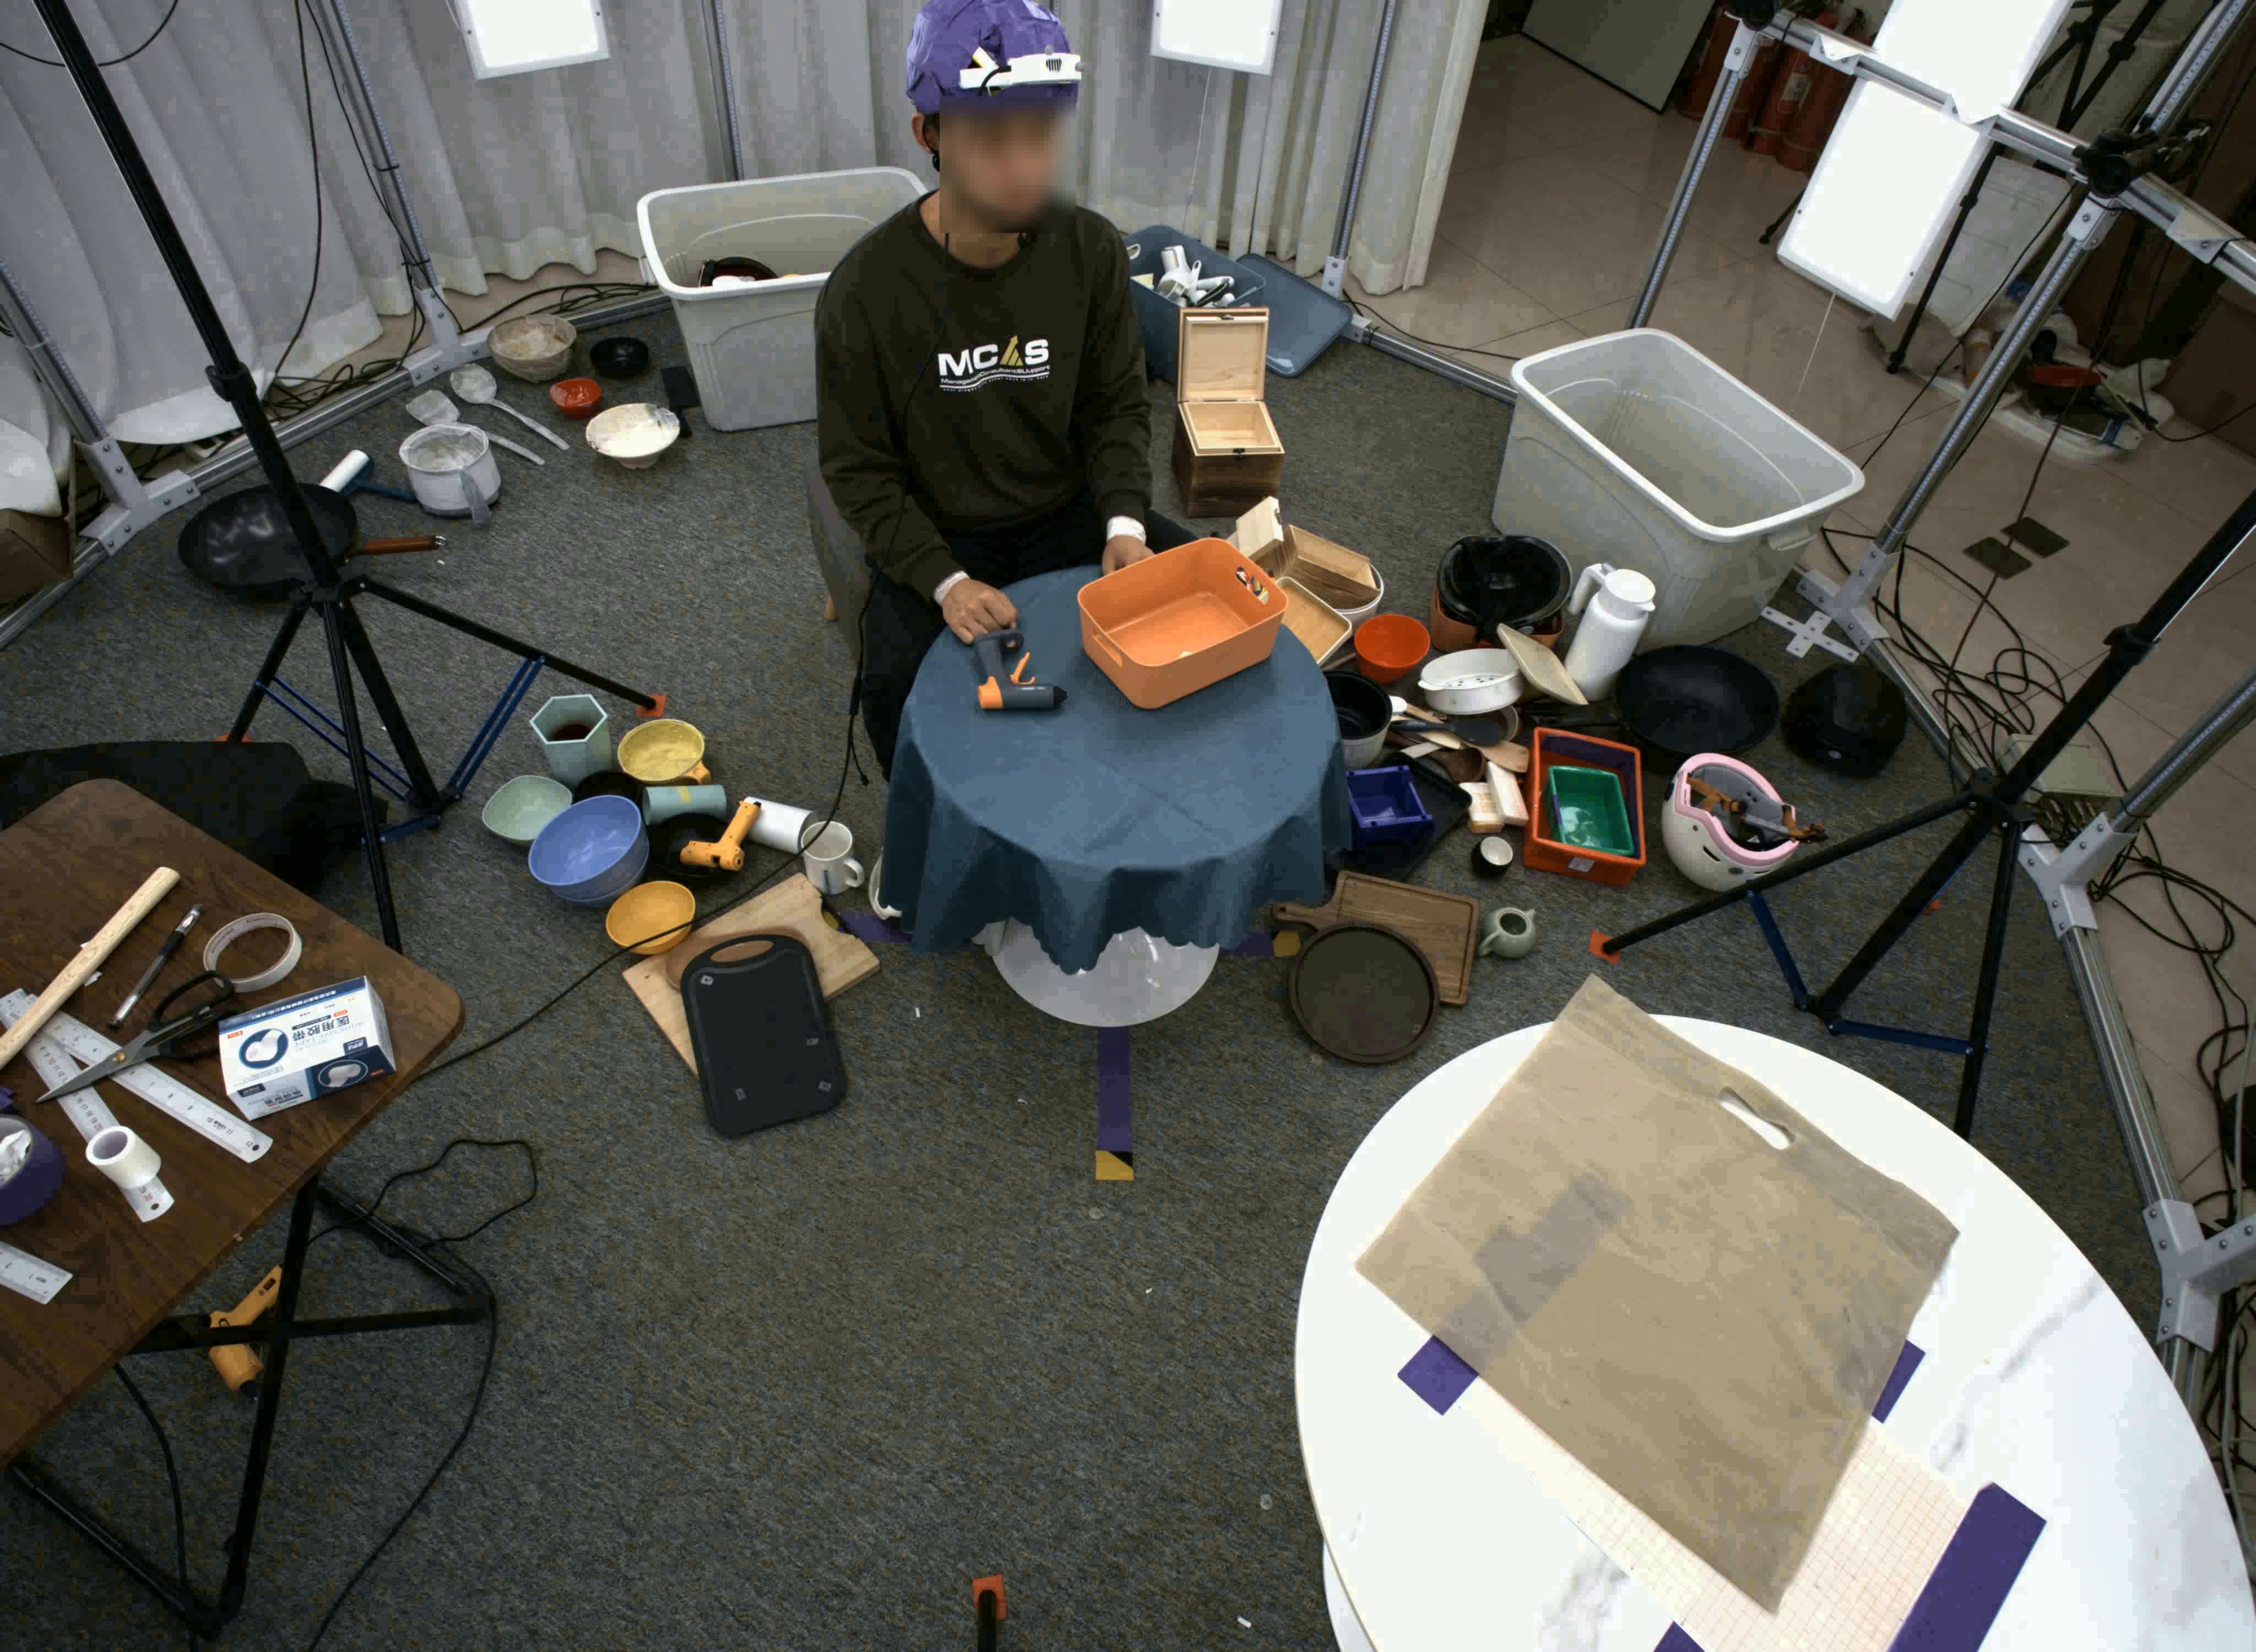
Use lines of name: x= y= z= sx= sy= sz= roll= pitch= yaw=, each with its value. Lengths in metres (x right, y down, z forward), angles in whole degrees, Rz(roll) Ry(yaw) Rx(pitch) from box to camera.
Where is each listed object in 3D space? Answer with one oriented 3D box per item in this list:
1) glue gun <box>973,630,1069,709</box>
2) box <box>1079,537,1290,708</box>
glue gun: x=-0.158 y=-0.214 z=1.814 sx=0.118 sy=0.040 sz=0.143 roll=-13 pitch=53 yaw=-17
box: x=0.077 y=-0.292 z=1.852 sx=0.274 sy=0.100 sz=0.203 roll=-26 pitch=56 yaw=-24
